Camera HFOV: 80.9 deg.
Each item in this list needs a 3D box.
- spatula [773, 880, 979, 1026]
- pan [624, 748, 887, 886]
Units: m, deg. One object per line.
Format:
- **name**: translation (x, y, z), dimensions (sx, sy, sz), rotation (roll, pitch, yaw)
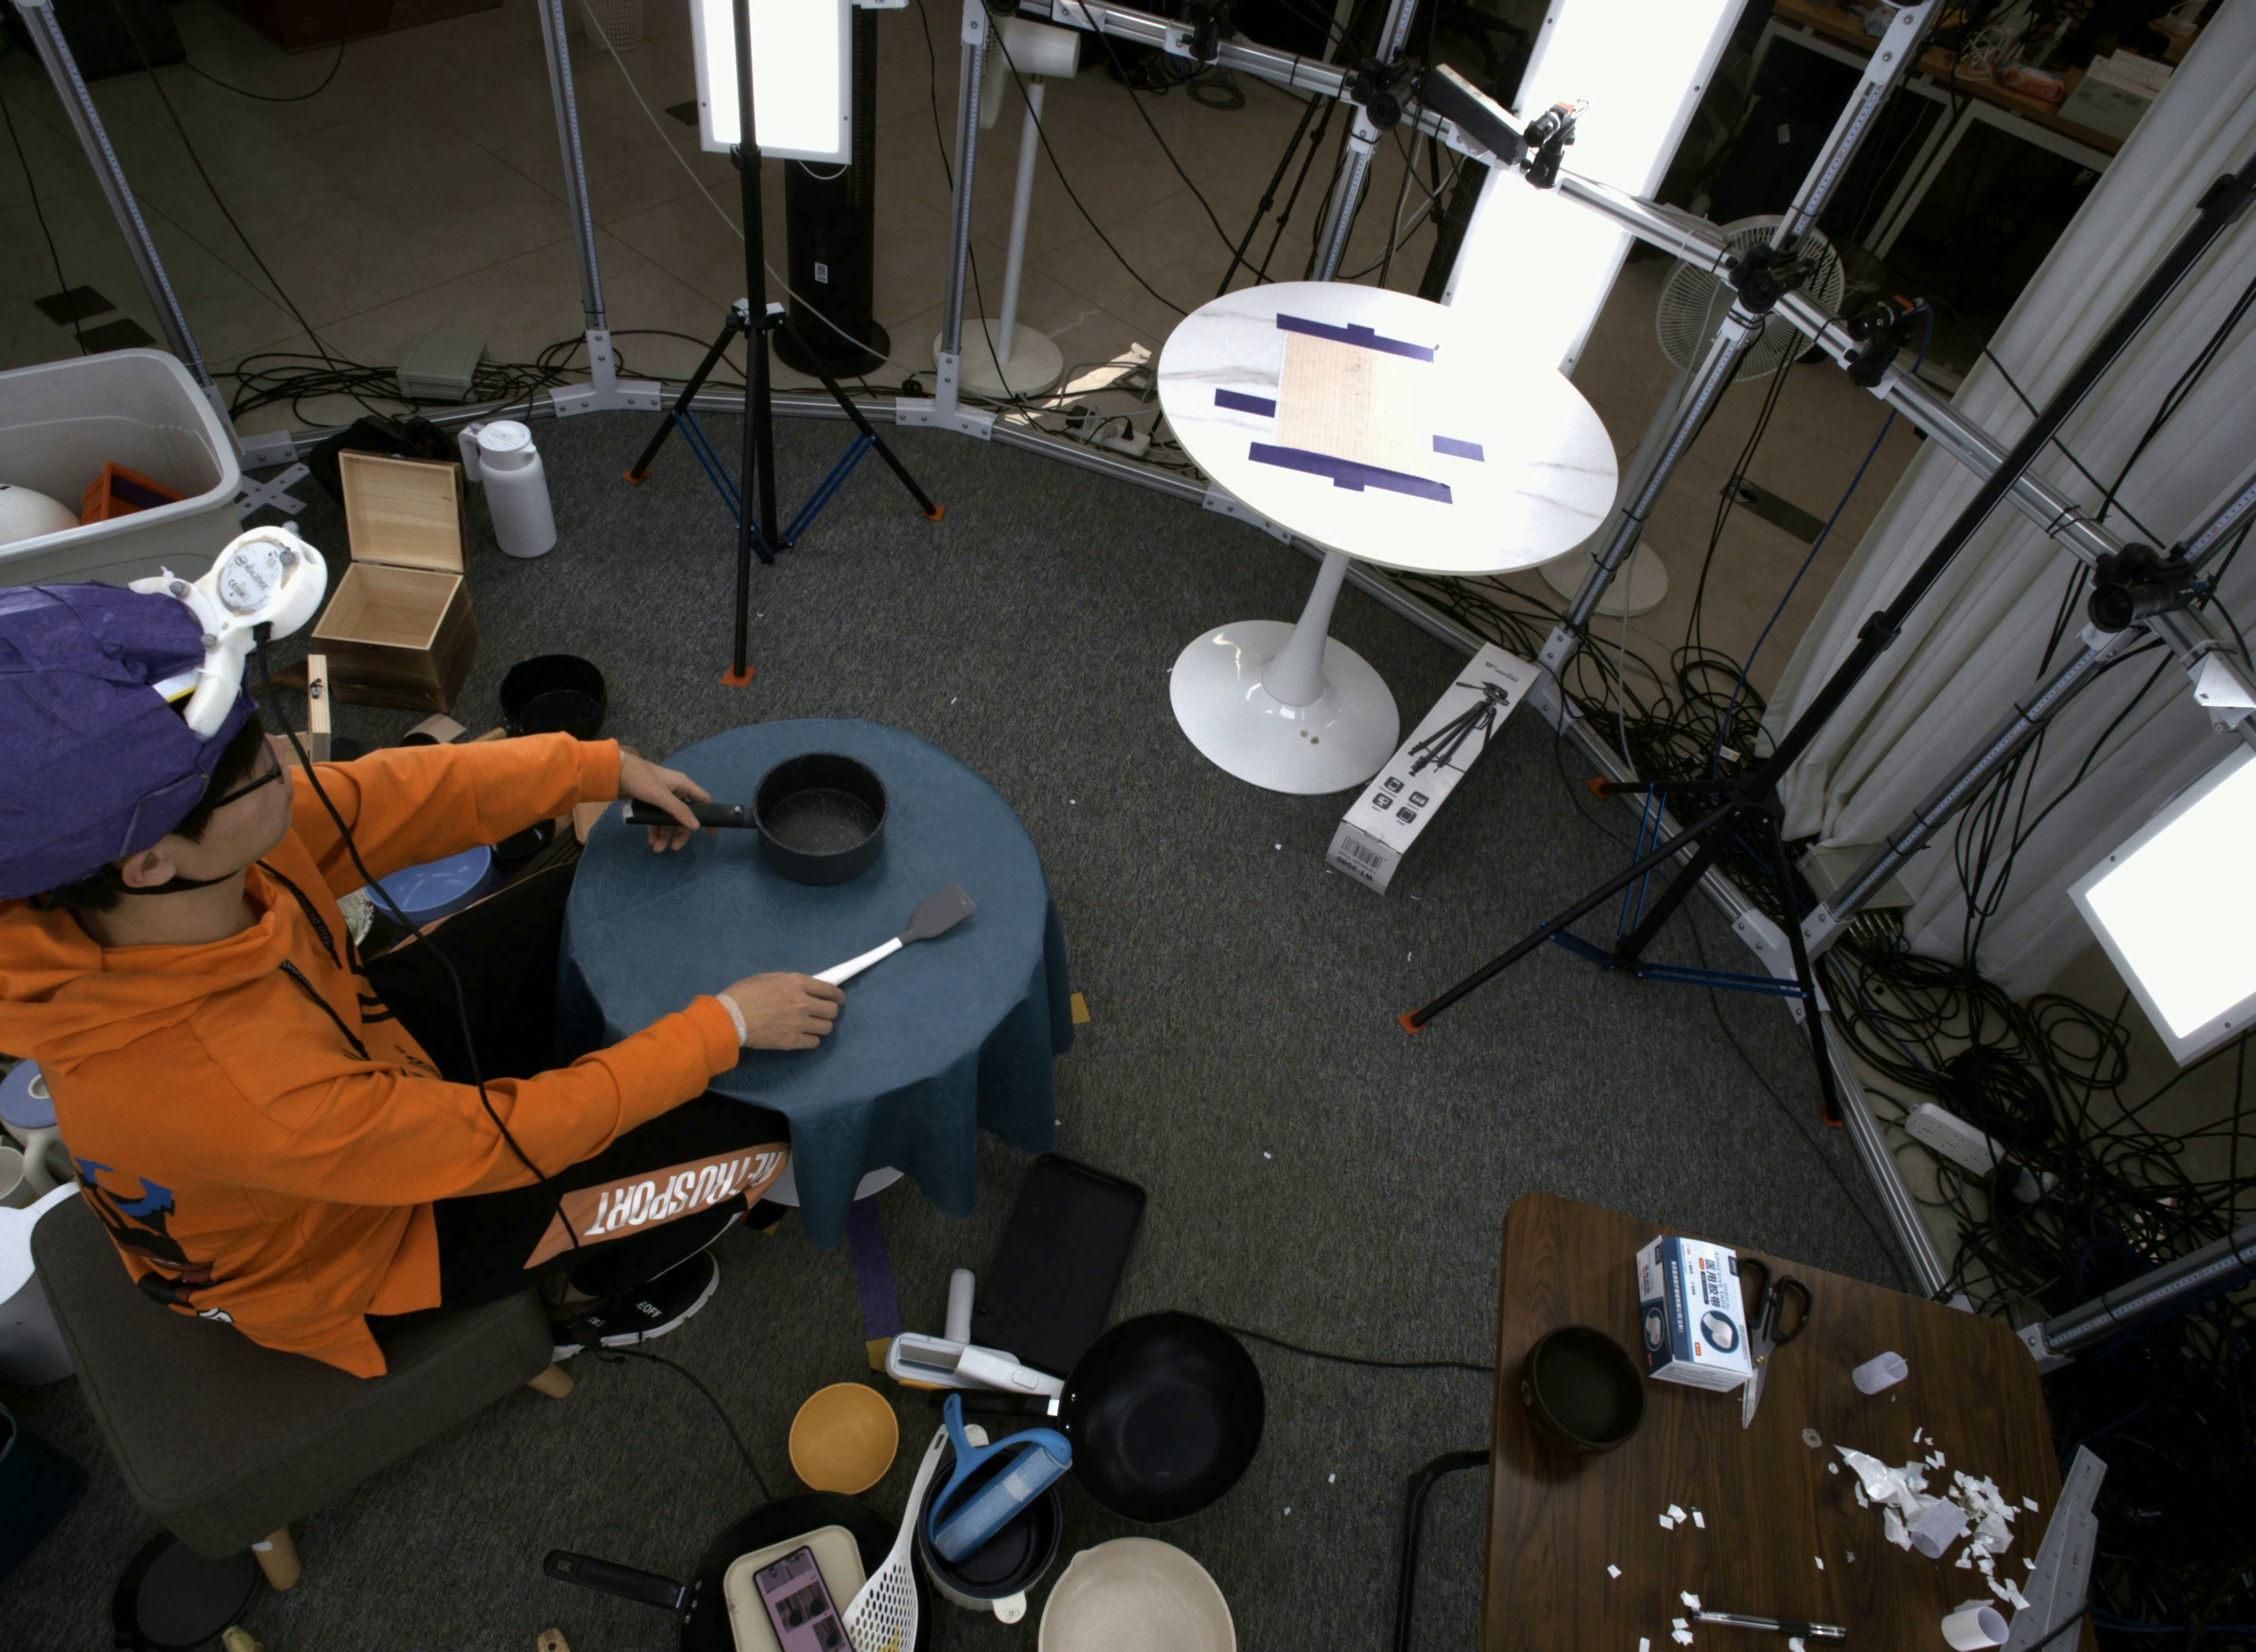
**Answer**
- **spatula**: translation (-0.310, 0.154, 1.608), dimensions (0.288, 0.033, 0.057), rotation (-33, 62, -32)
- **pan**: translation (-0.475, -0.010, 1.653), dimensions (0.330, 0.088, 0.168), rotation (0, 53, -17)
